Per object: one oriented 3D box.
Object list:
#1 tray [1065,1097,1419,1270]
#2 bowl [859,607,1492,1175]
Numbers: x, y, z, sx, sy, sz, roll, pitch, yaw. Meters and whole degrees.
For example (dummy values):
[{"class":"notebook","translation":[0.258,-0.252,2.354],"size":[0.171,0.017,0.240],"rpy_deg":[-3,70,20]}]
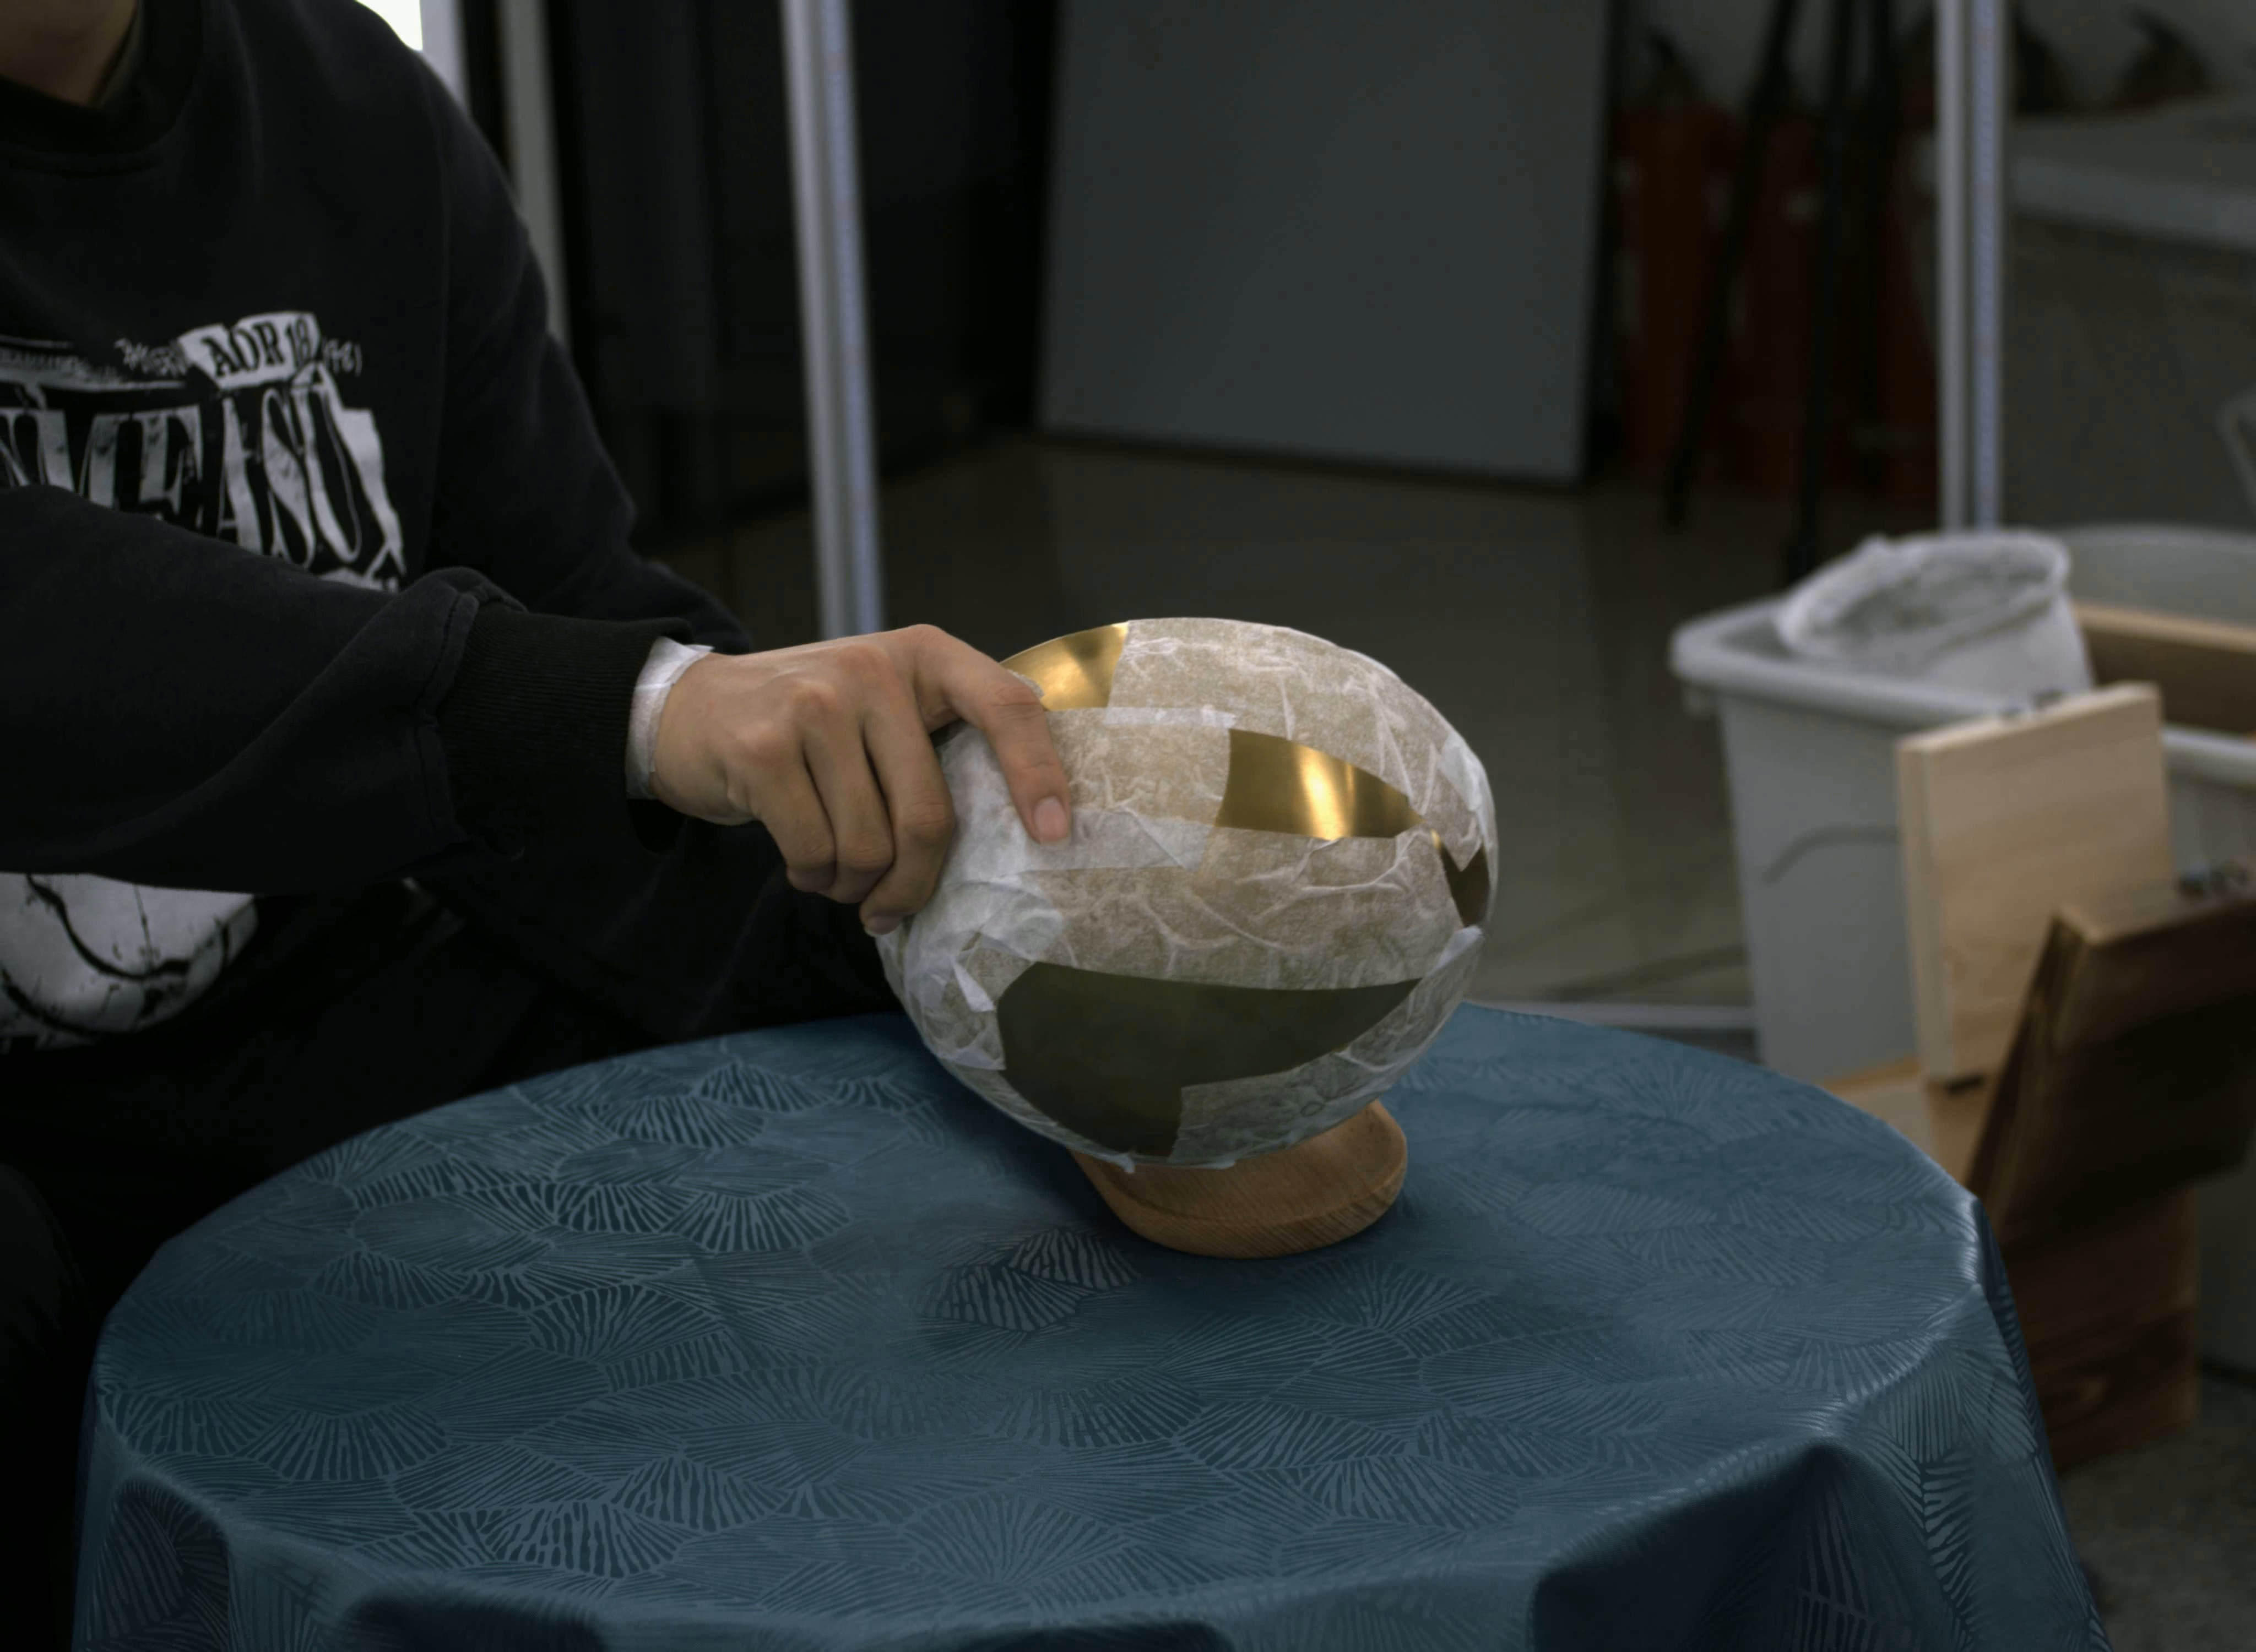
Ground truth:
[{"class":"tray","translation":[0.022,0.087,1.790],"size":[0.100,0.020,0.233],"rpy_deg":[-14,28,-15]},{"class":"bowl","translation":[0.014,0.042,1.669],"size":[0.212,0.215,0.095],"rpy_deg":[-2,42,3]}]
